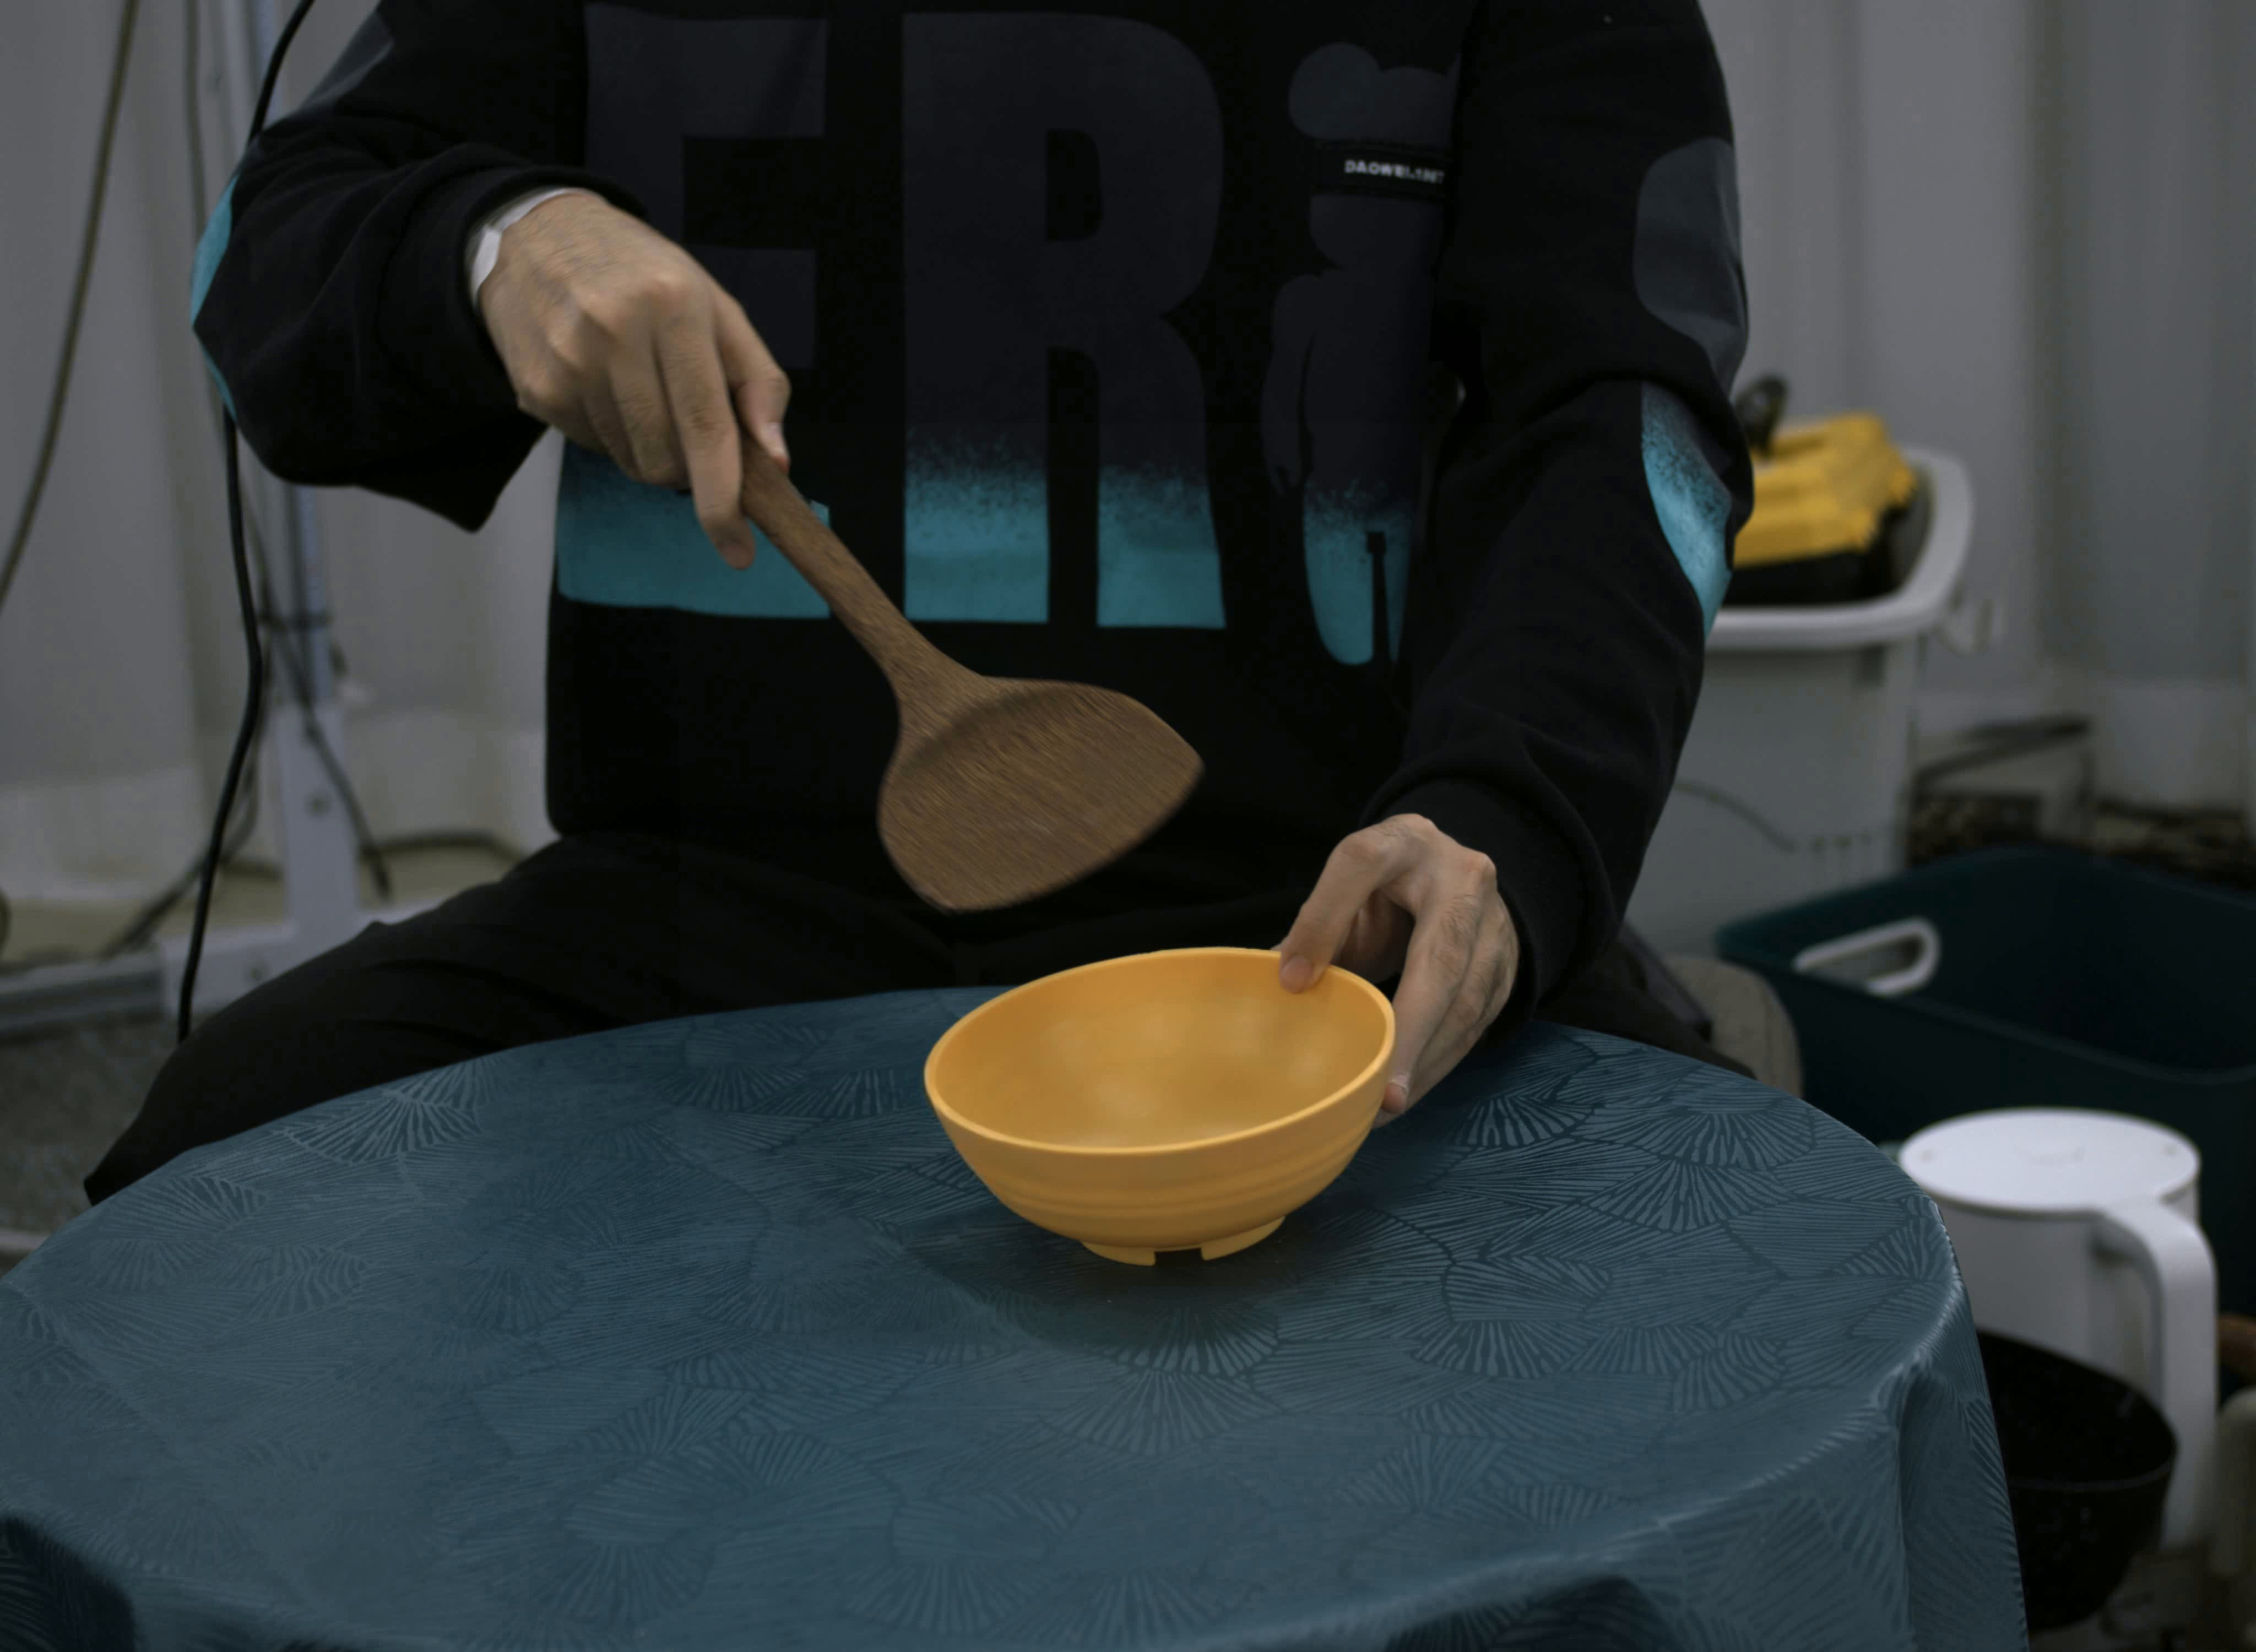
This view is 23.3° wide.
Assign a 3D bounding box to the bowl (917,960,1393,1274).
[{"bbox_3d":[0.010,0.096,1.664,0.145,0.060,0.146,-4,20,1],"label":"bowl"}]

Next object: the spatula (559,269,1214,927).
[{"bbox_3d":[-0.097,-0.087,1.758,0.096,0.015,0.391,-29,45,-12],"label":"spatula"}]
